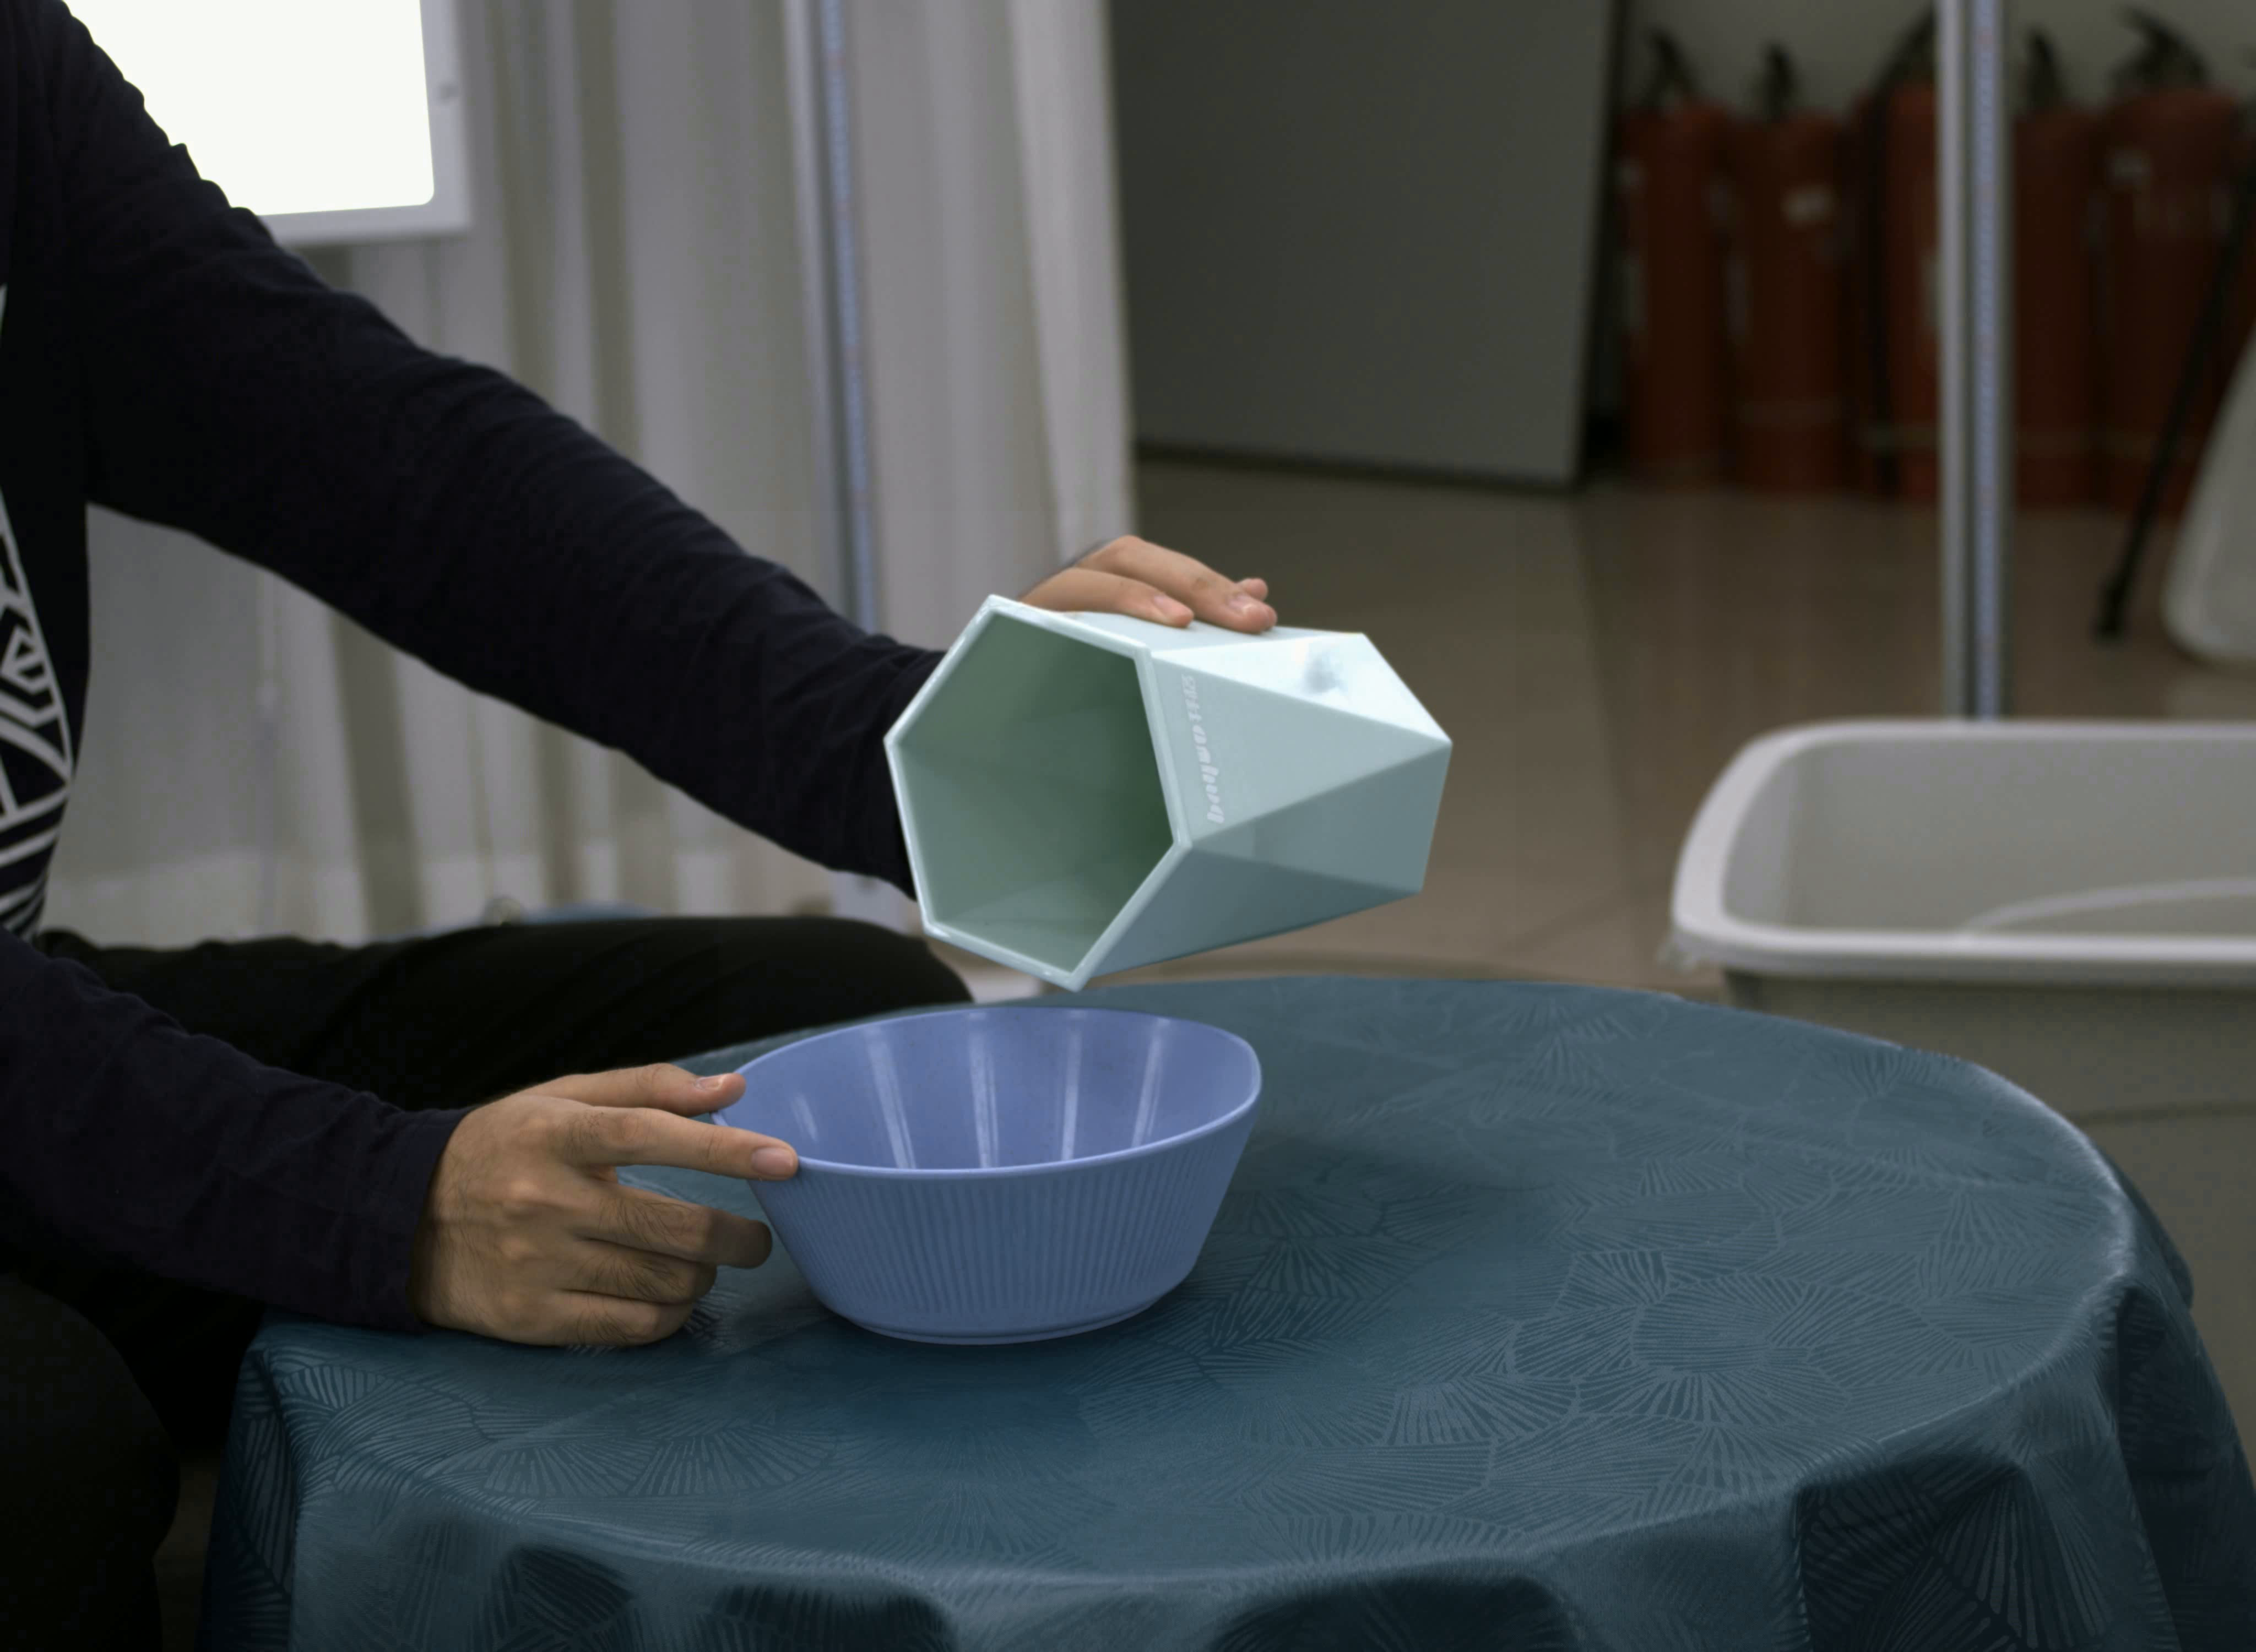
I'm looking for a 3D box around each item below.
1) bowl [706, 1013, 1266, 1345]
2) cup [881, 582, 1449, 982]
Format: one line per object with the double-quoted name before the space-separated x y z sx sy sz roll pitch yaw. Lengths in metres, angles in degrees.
"bowl" -0.042 0.112 1.679 0.174 0.071 0.176 -4 13 0
"cup" 0.019 -0.015 1.767 0.116 0.133 0.159 -23 -15 39
